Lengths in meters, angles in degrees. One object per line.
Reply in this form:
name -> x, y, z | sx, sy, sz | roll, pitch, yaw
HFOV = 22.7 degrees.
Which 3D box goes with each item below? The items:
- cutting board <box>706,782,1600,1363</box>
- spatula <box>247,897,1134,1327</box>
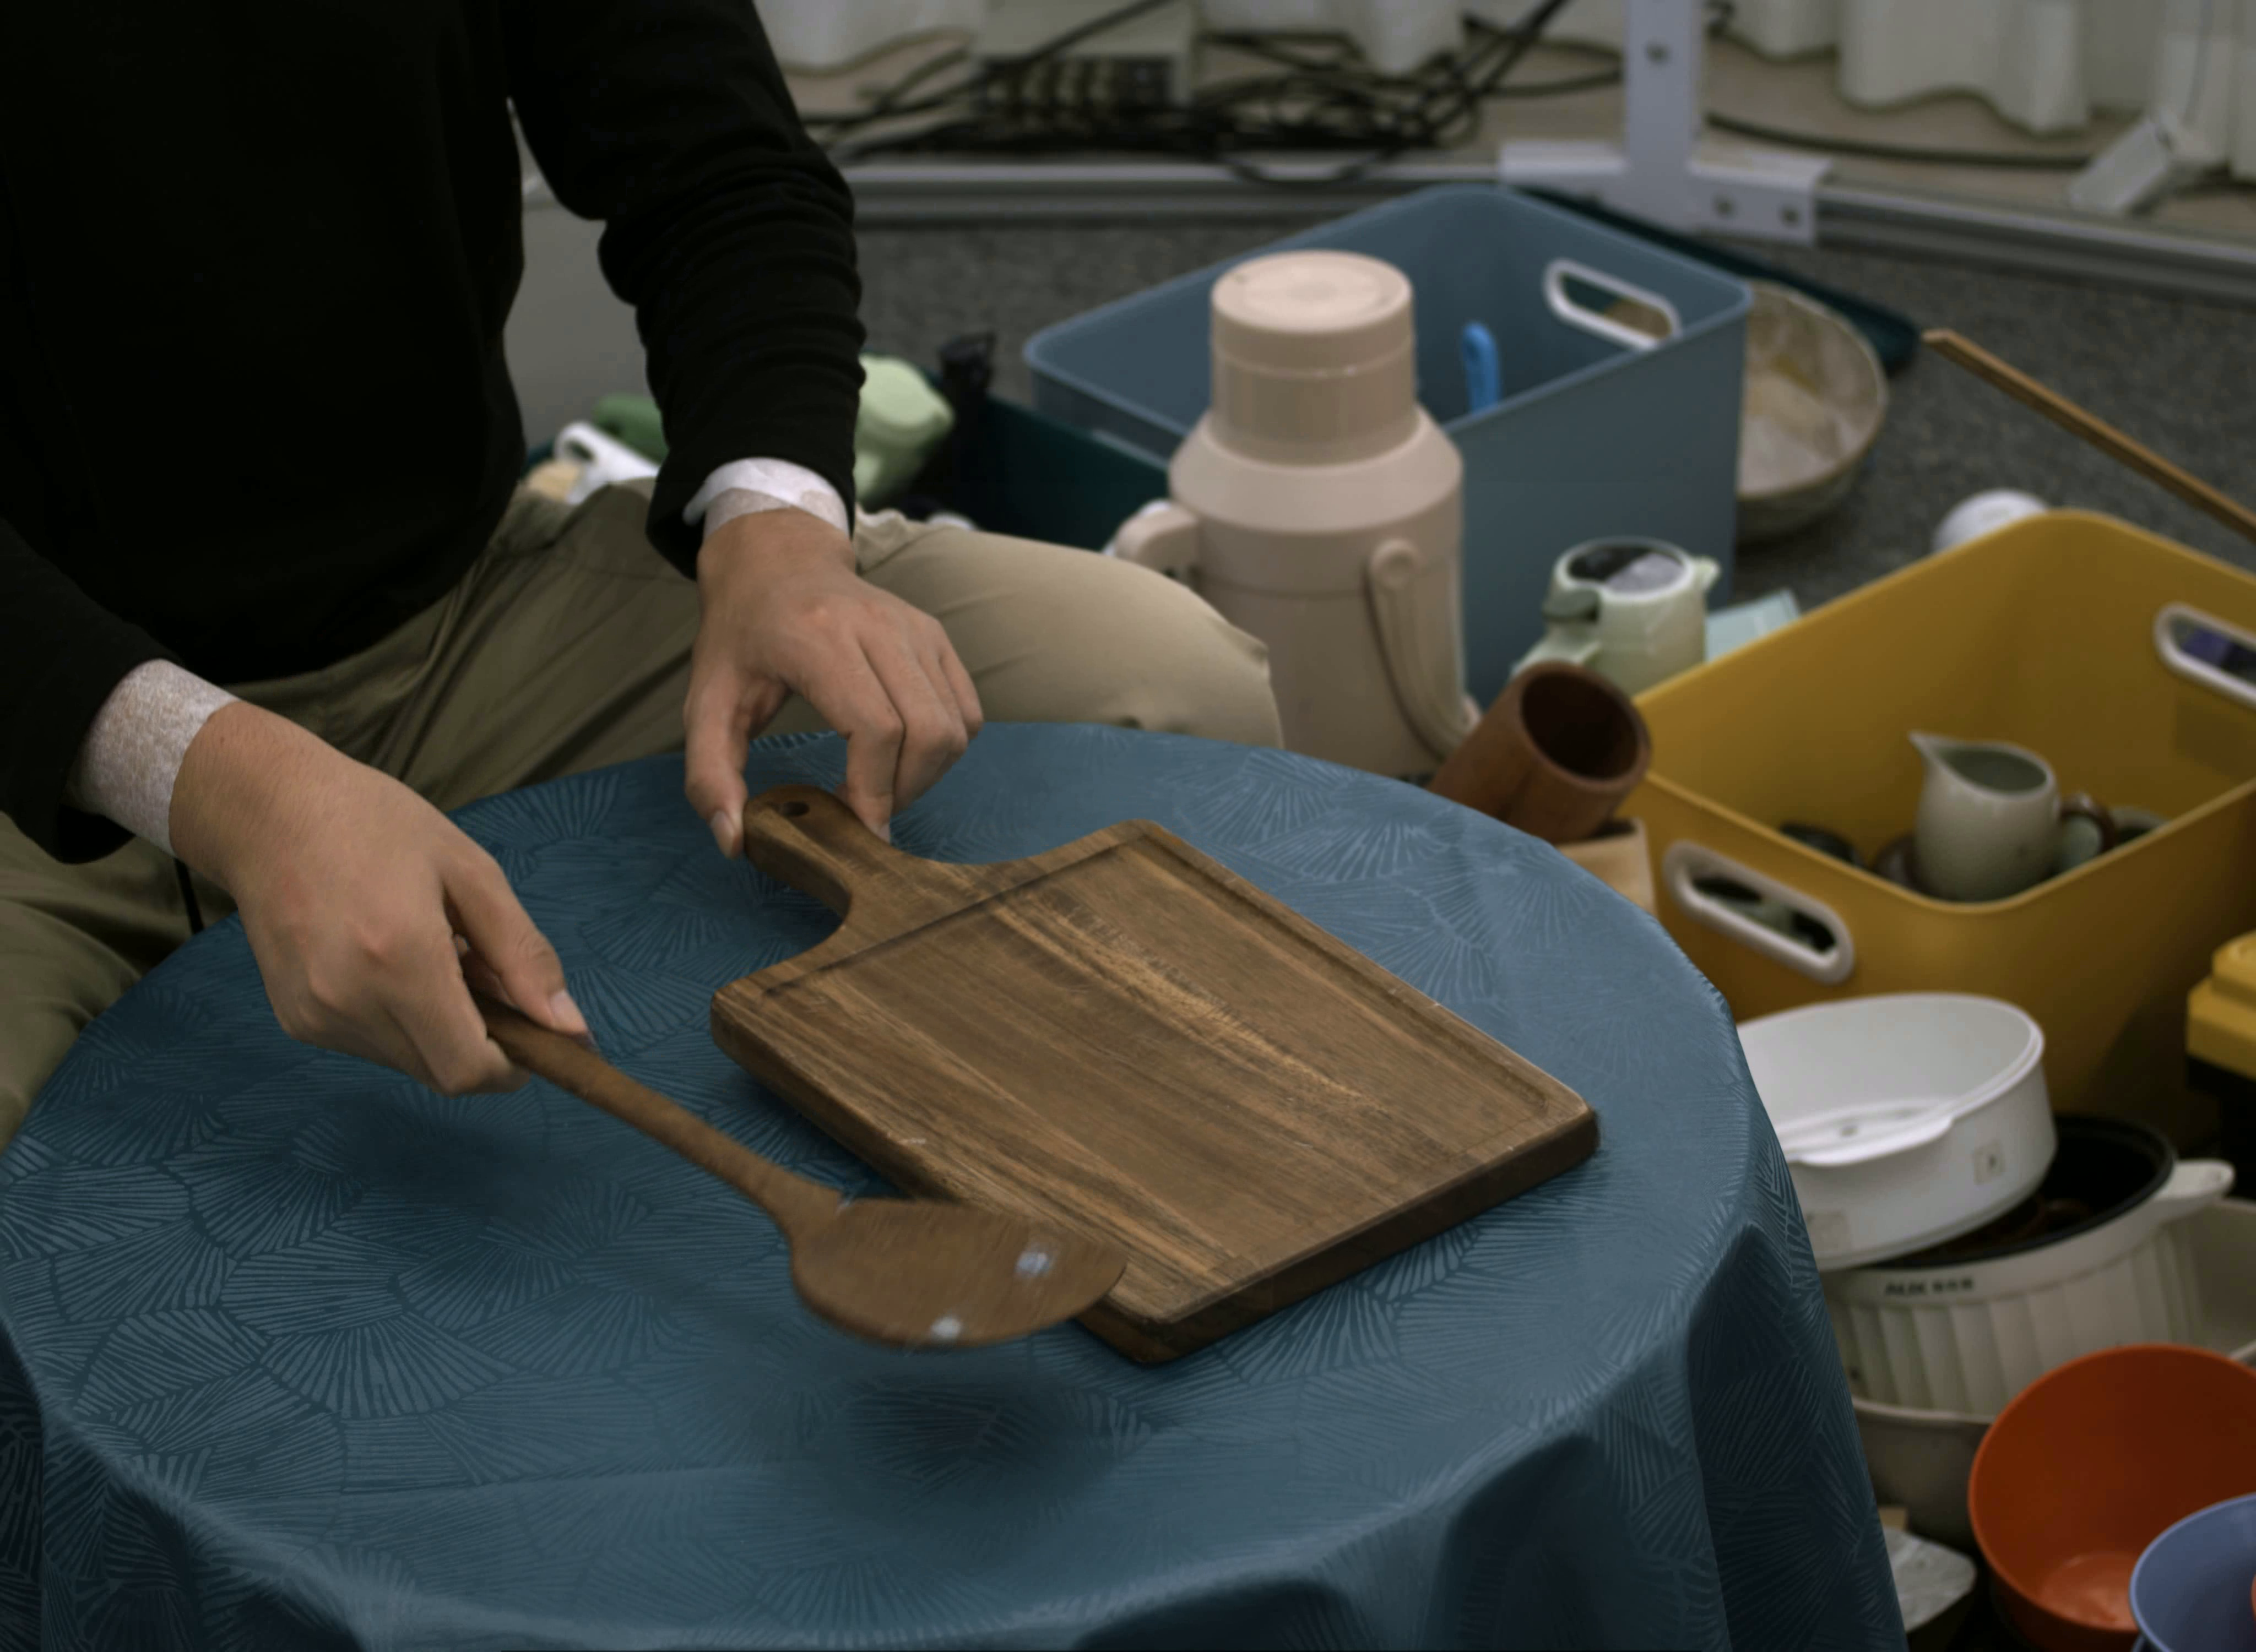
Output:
cutting board -> -0.024, 0.063, 1.930 | 0.203, 0.023, 0.353 | -22, 37, -33
spatula -> -0.159, 0.086, 1.812 | 0.385, 0.015, 0.097 | 23, 28, 38
